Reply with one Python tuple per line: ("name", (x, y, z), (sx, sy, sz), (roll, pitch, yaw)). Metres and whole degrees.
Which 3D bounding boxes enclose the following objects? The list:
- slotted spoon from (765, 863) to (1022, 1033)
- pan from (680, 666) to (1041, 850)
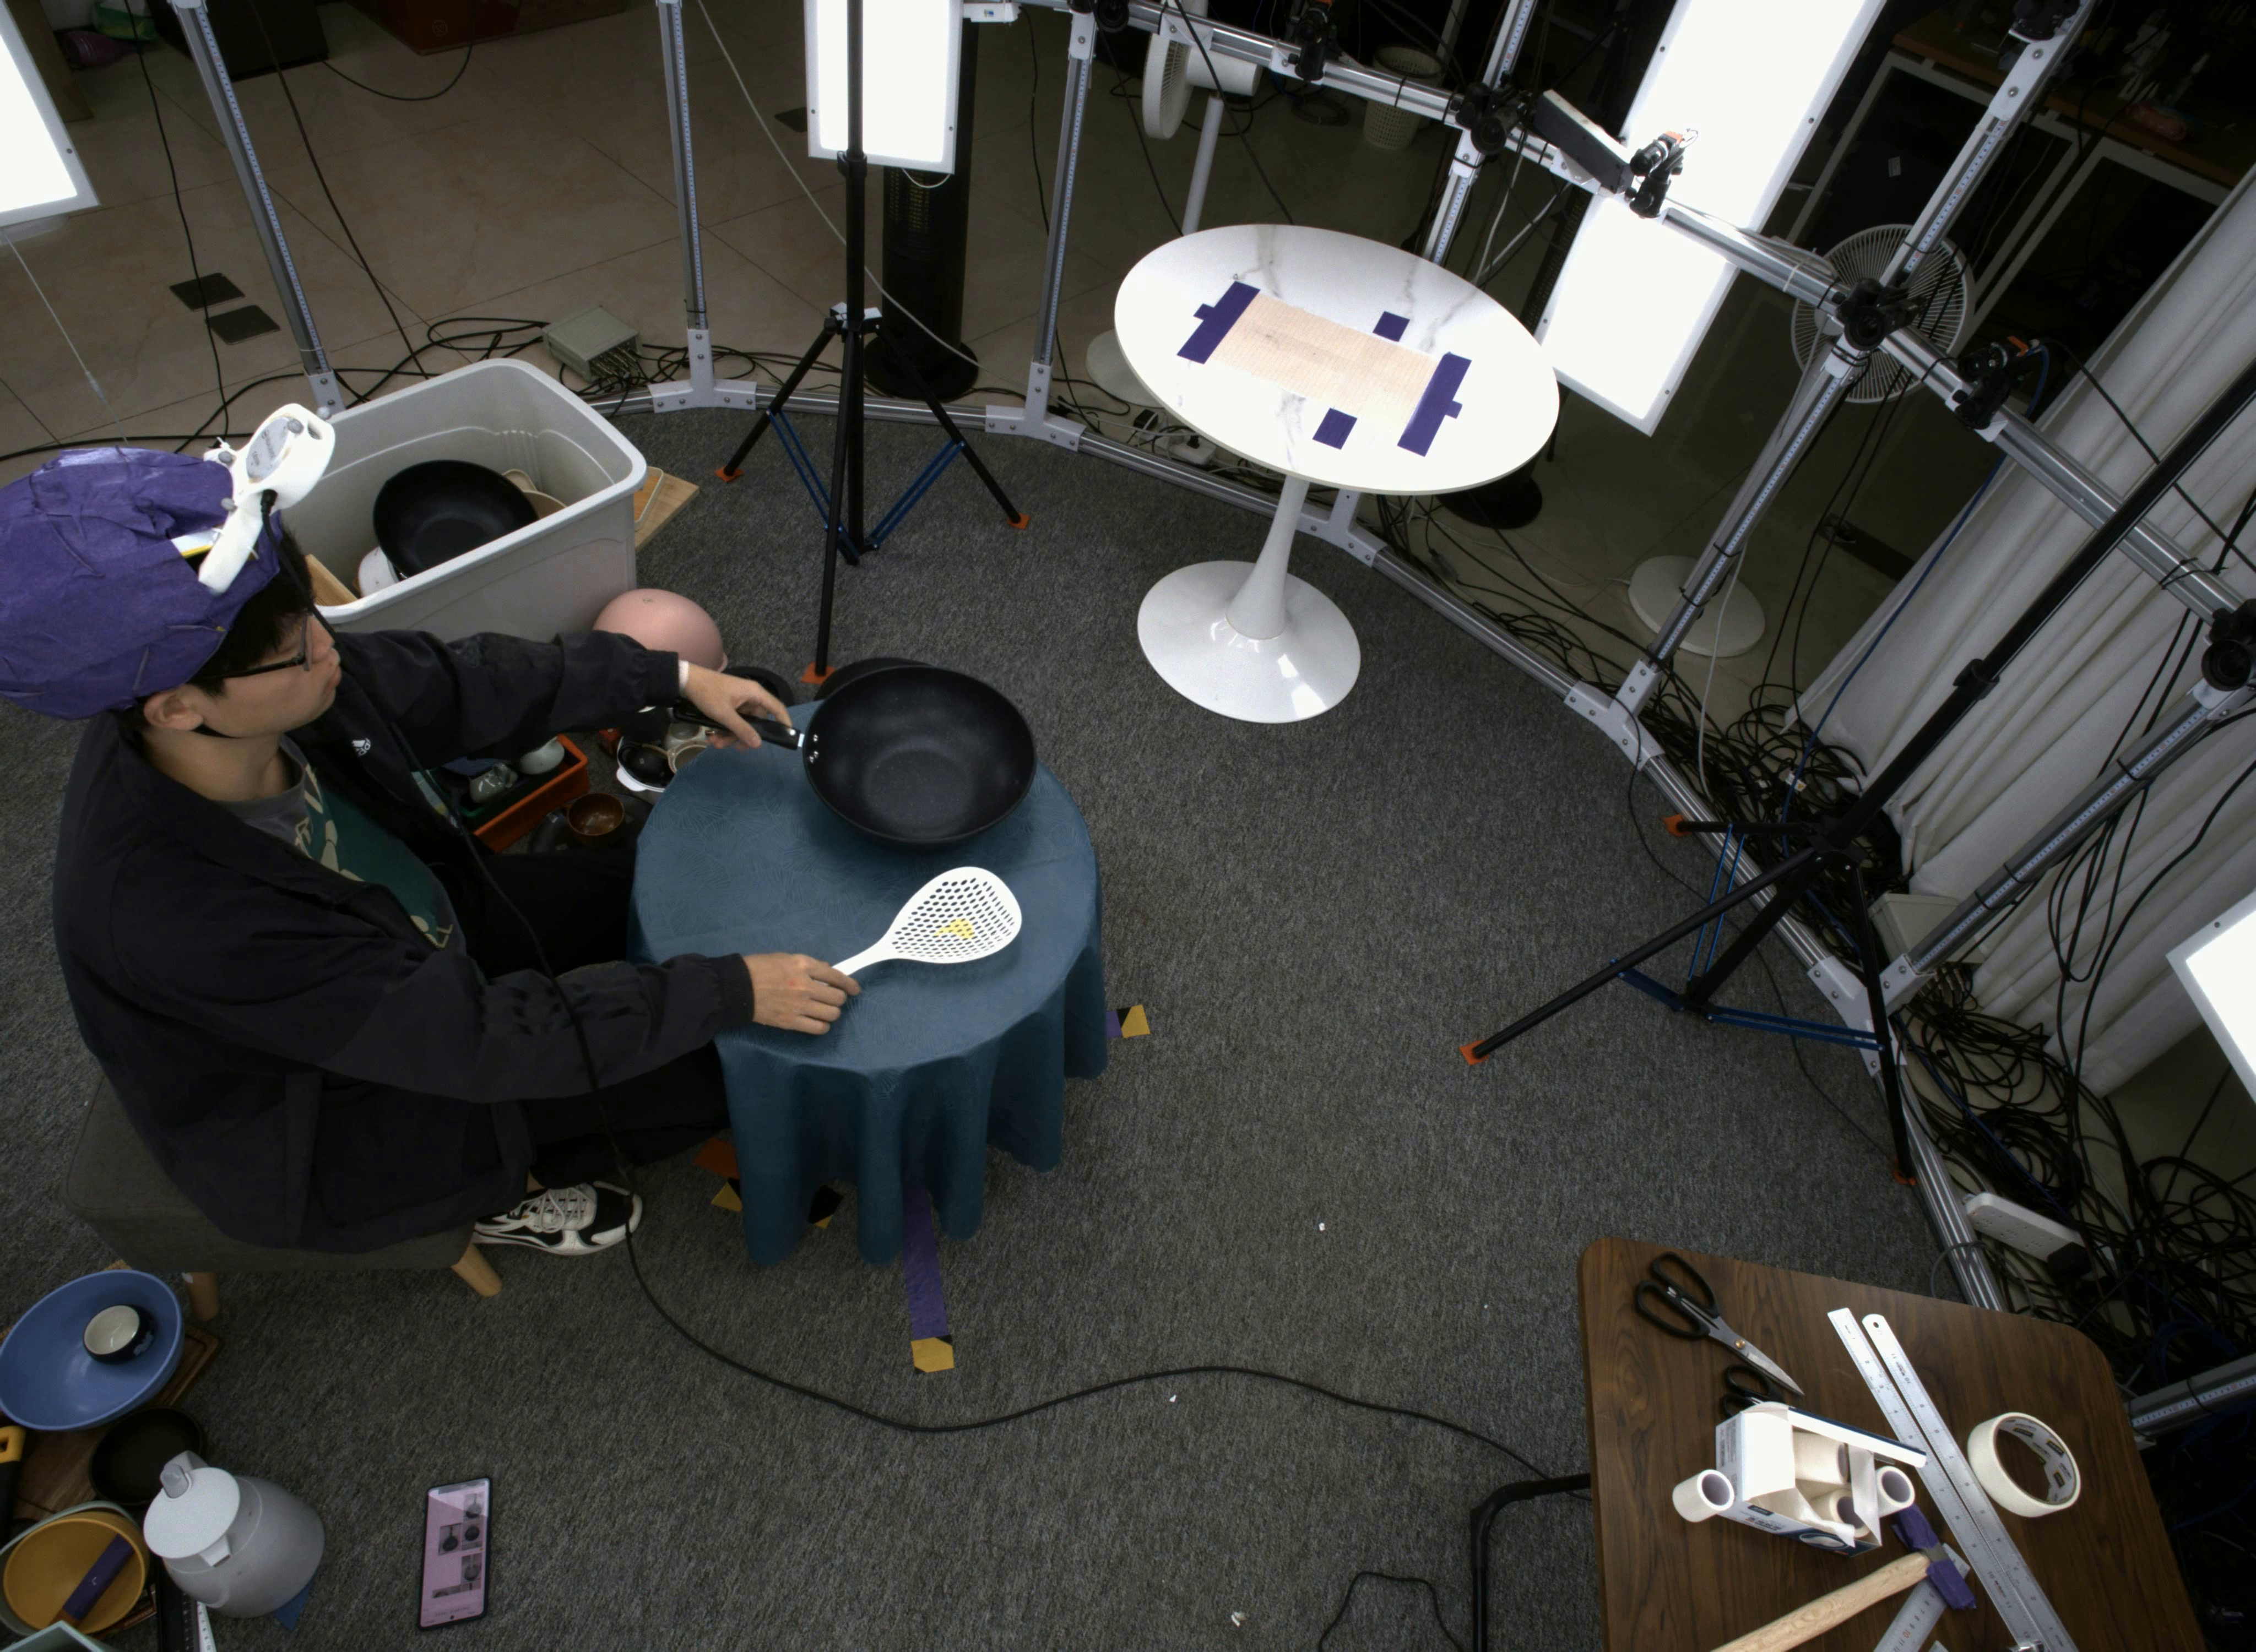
("slotted spoon", (-0.294, 0.157, 1.615), (0.349, 0.051, 0.133), (-24, 63, -28))
("pan", (-0.355, -0.093, 1.743), (0.476, 0.114, 0.304), (6, 51, -10))
